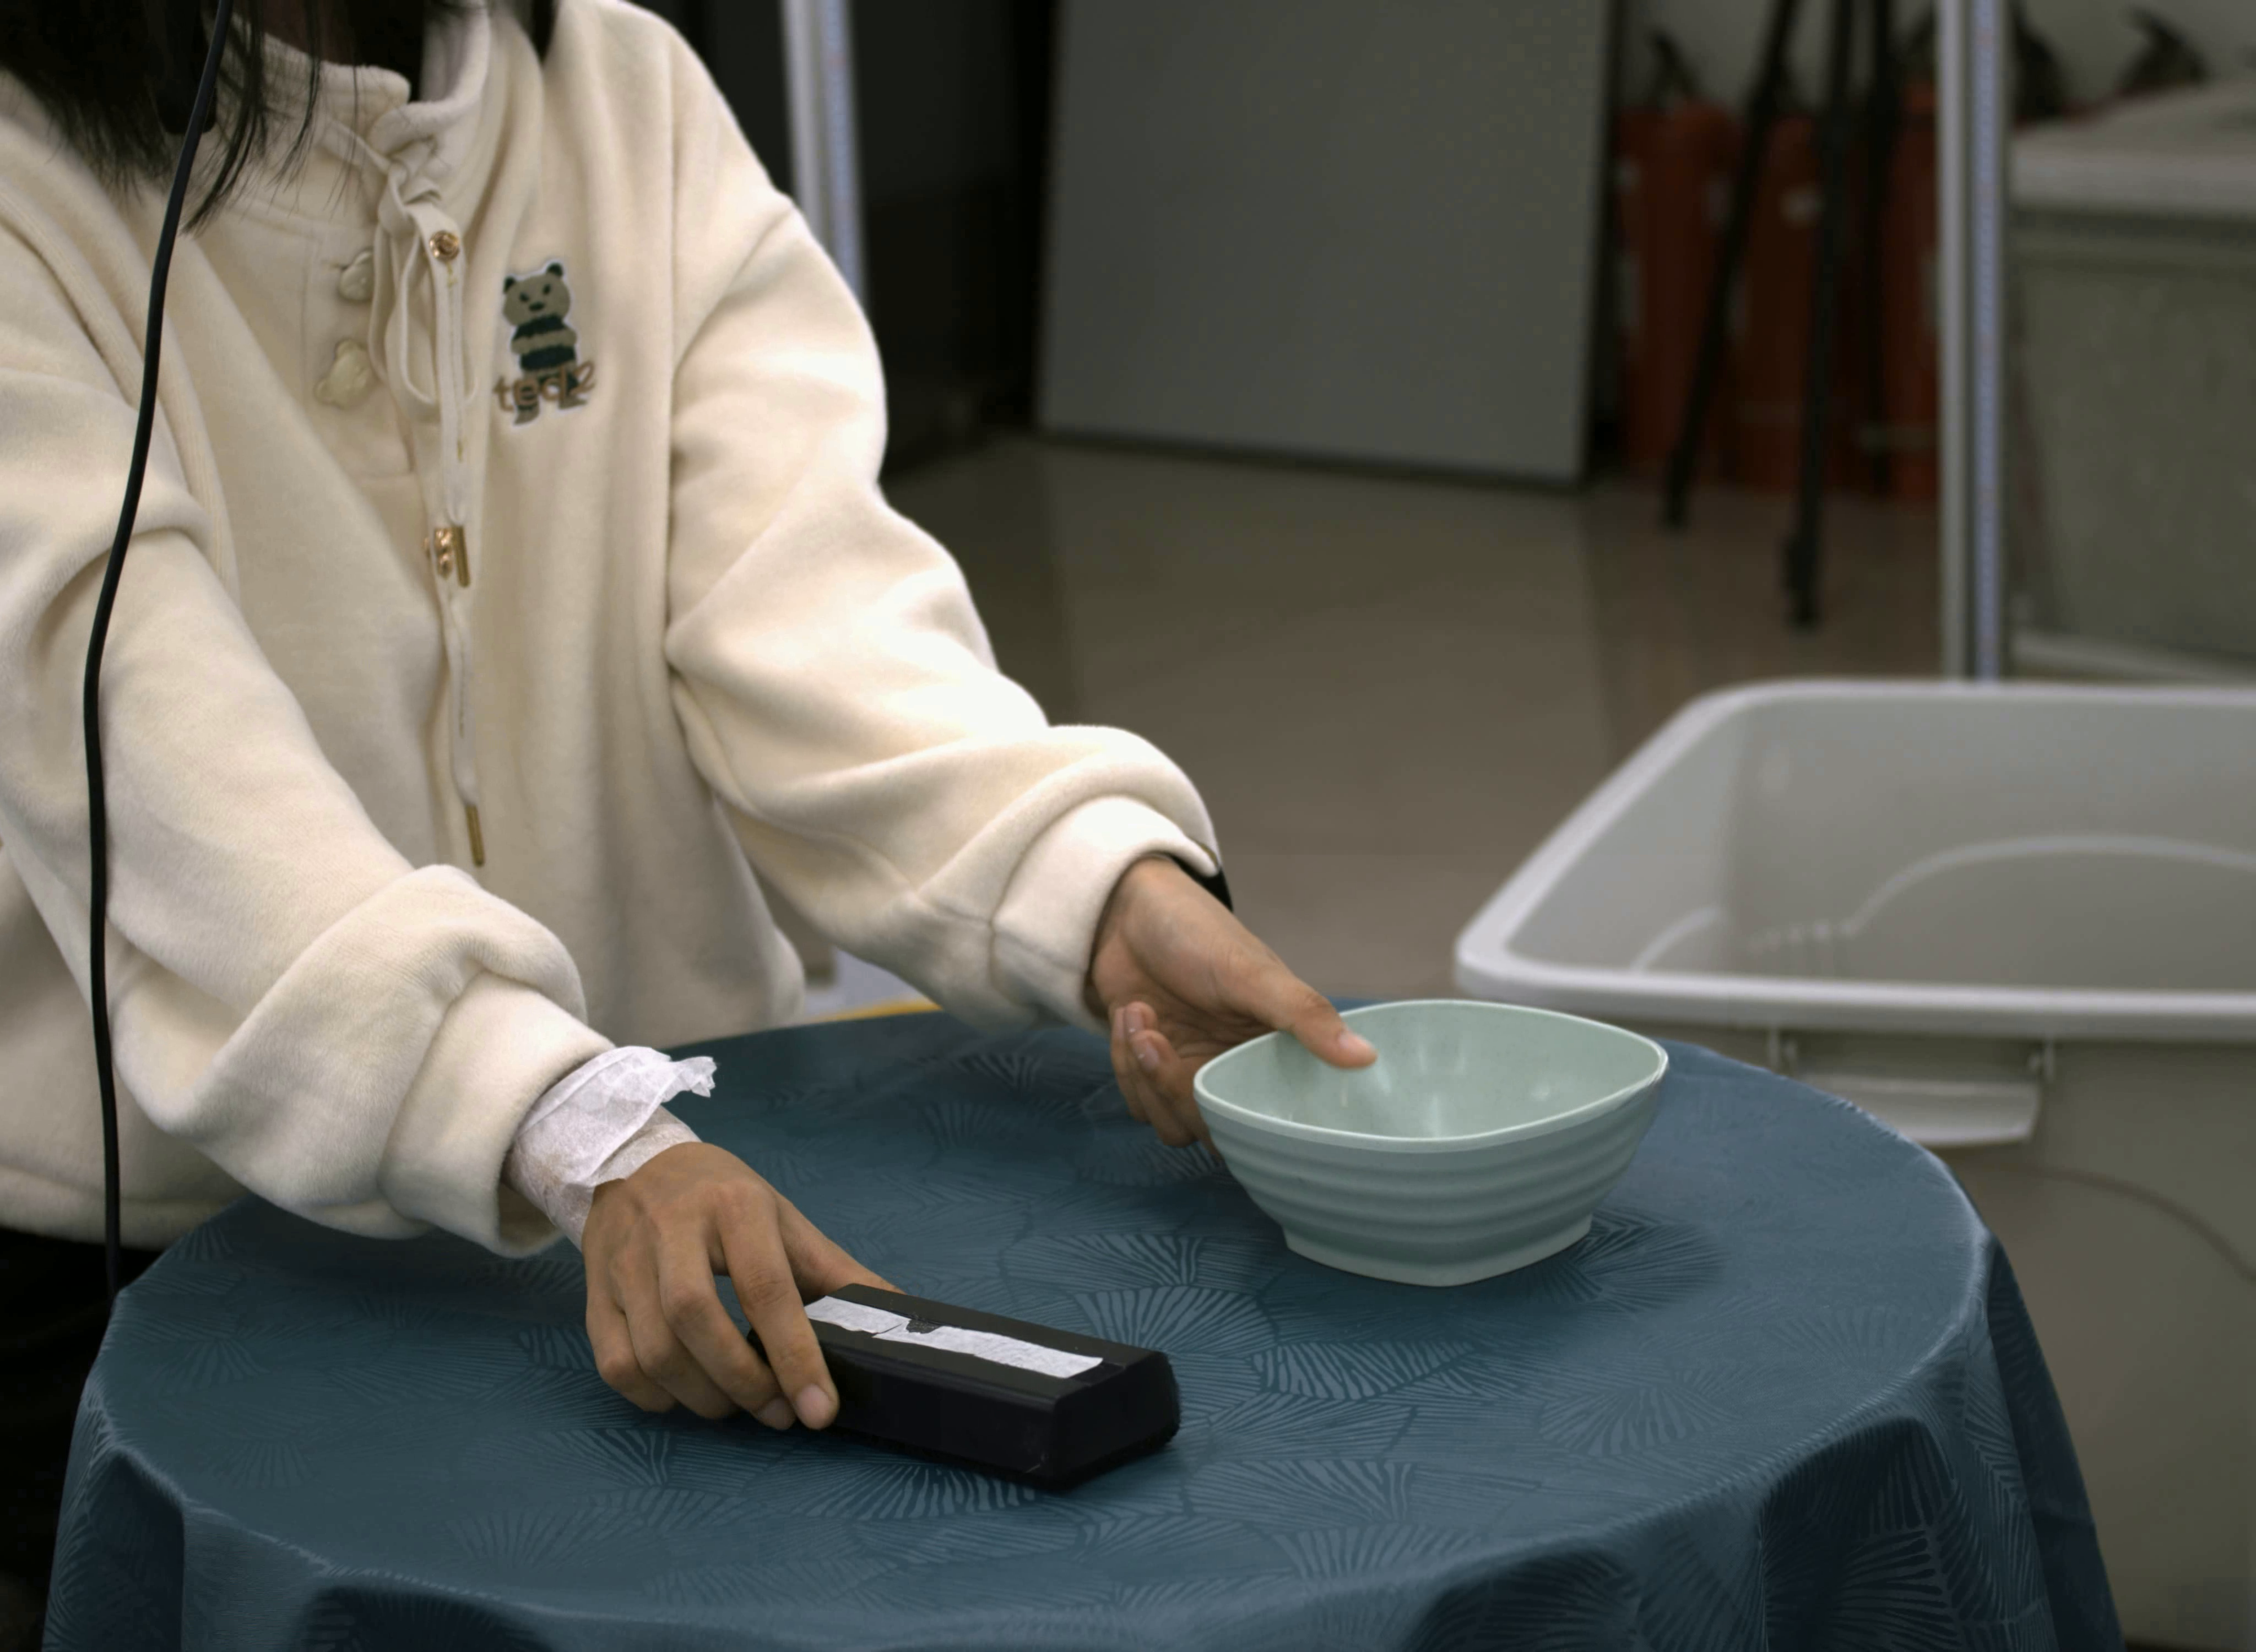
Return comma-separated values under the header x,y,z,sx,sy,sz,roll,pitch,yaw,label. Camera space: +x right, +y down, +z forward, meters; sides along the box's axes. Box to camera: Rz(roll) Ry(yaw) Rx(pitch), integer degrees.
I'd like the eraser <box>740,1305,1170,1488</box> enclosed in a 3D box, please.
x,y,z,sx,sy,sz,roll,pitch,yaw,label
-0.049,0.163,1.557,0.126,0.031,0.052,4,14,40,eraser

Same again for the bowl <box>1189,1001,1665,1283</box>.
x,y,z,sx,sy,sz,roll,pitch,yaw,label
0.094,0.102,1.696,0.149,0.059,0.151,-1,12,-1,bowl
